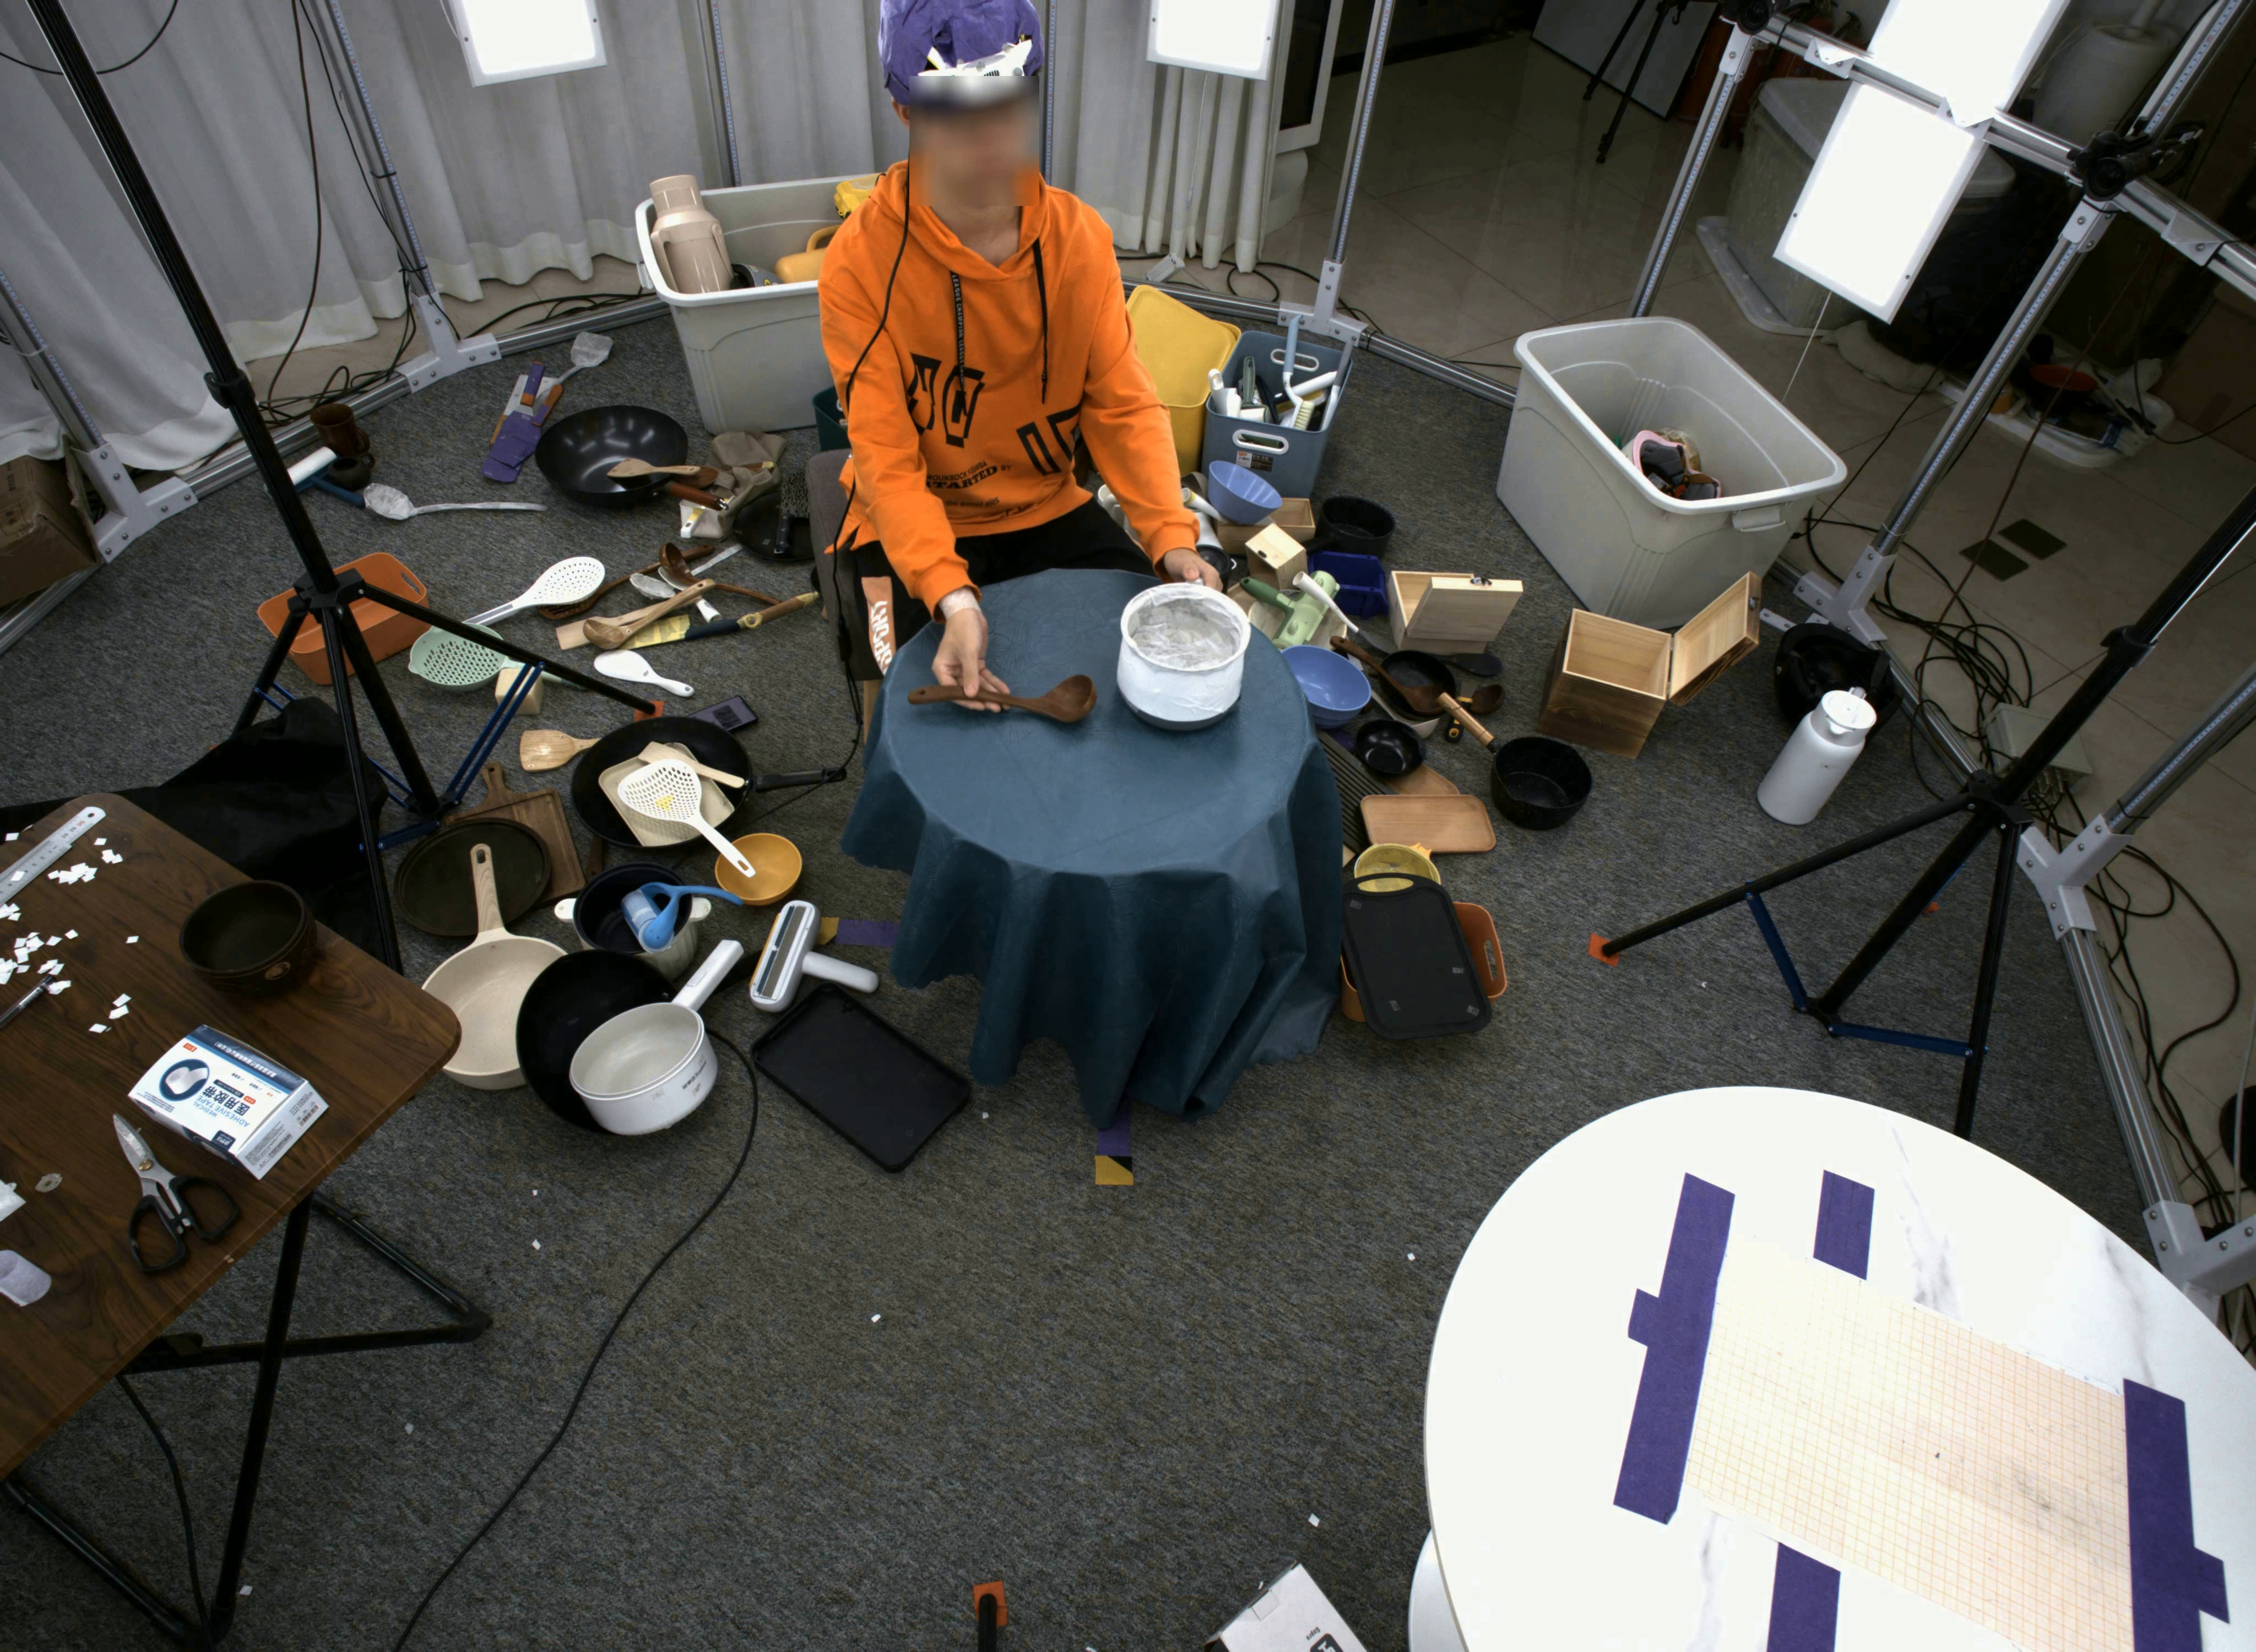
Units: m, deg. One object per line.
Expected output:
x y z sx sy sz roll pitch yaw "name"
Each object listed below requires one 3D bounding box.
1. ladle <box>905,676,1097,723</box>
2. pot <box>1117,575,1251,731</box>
-0.173 -0.184 1.765 0.259 0.063 0.078 6 45 -9 "ladle"
0.078 -0.253 1.805 0.179 0.133 0.239 8 49 2 "pot"
